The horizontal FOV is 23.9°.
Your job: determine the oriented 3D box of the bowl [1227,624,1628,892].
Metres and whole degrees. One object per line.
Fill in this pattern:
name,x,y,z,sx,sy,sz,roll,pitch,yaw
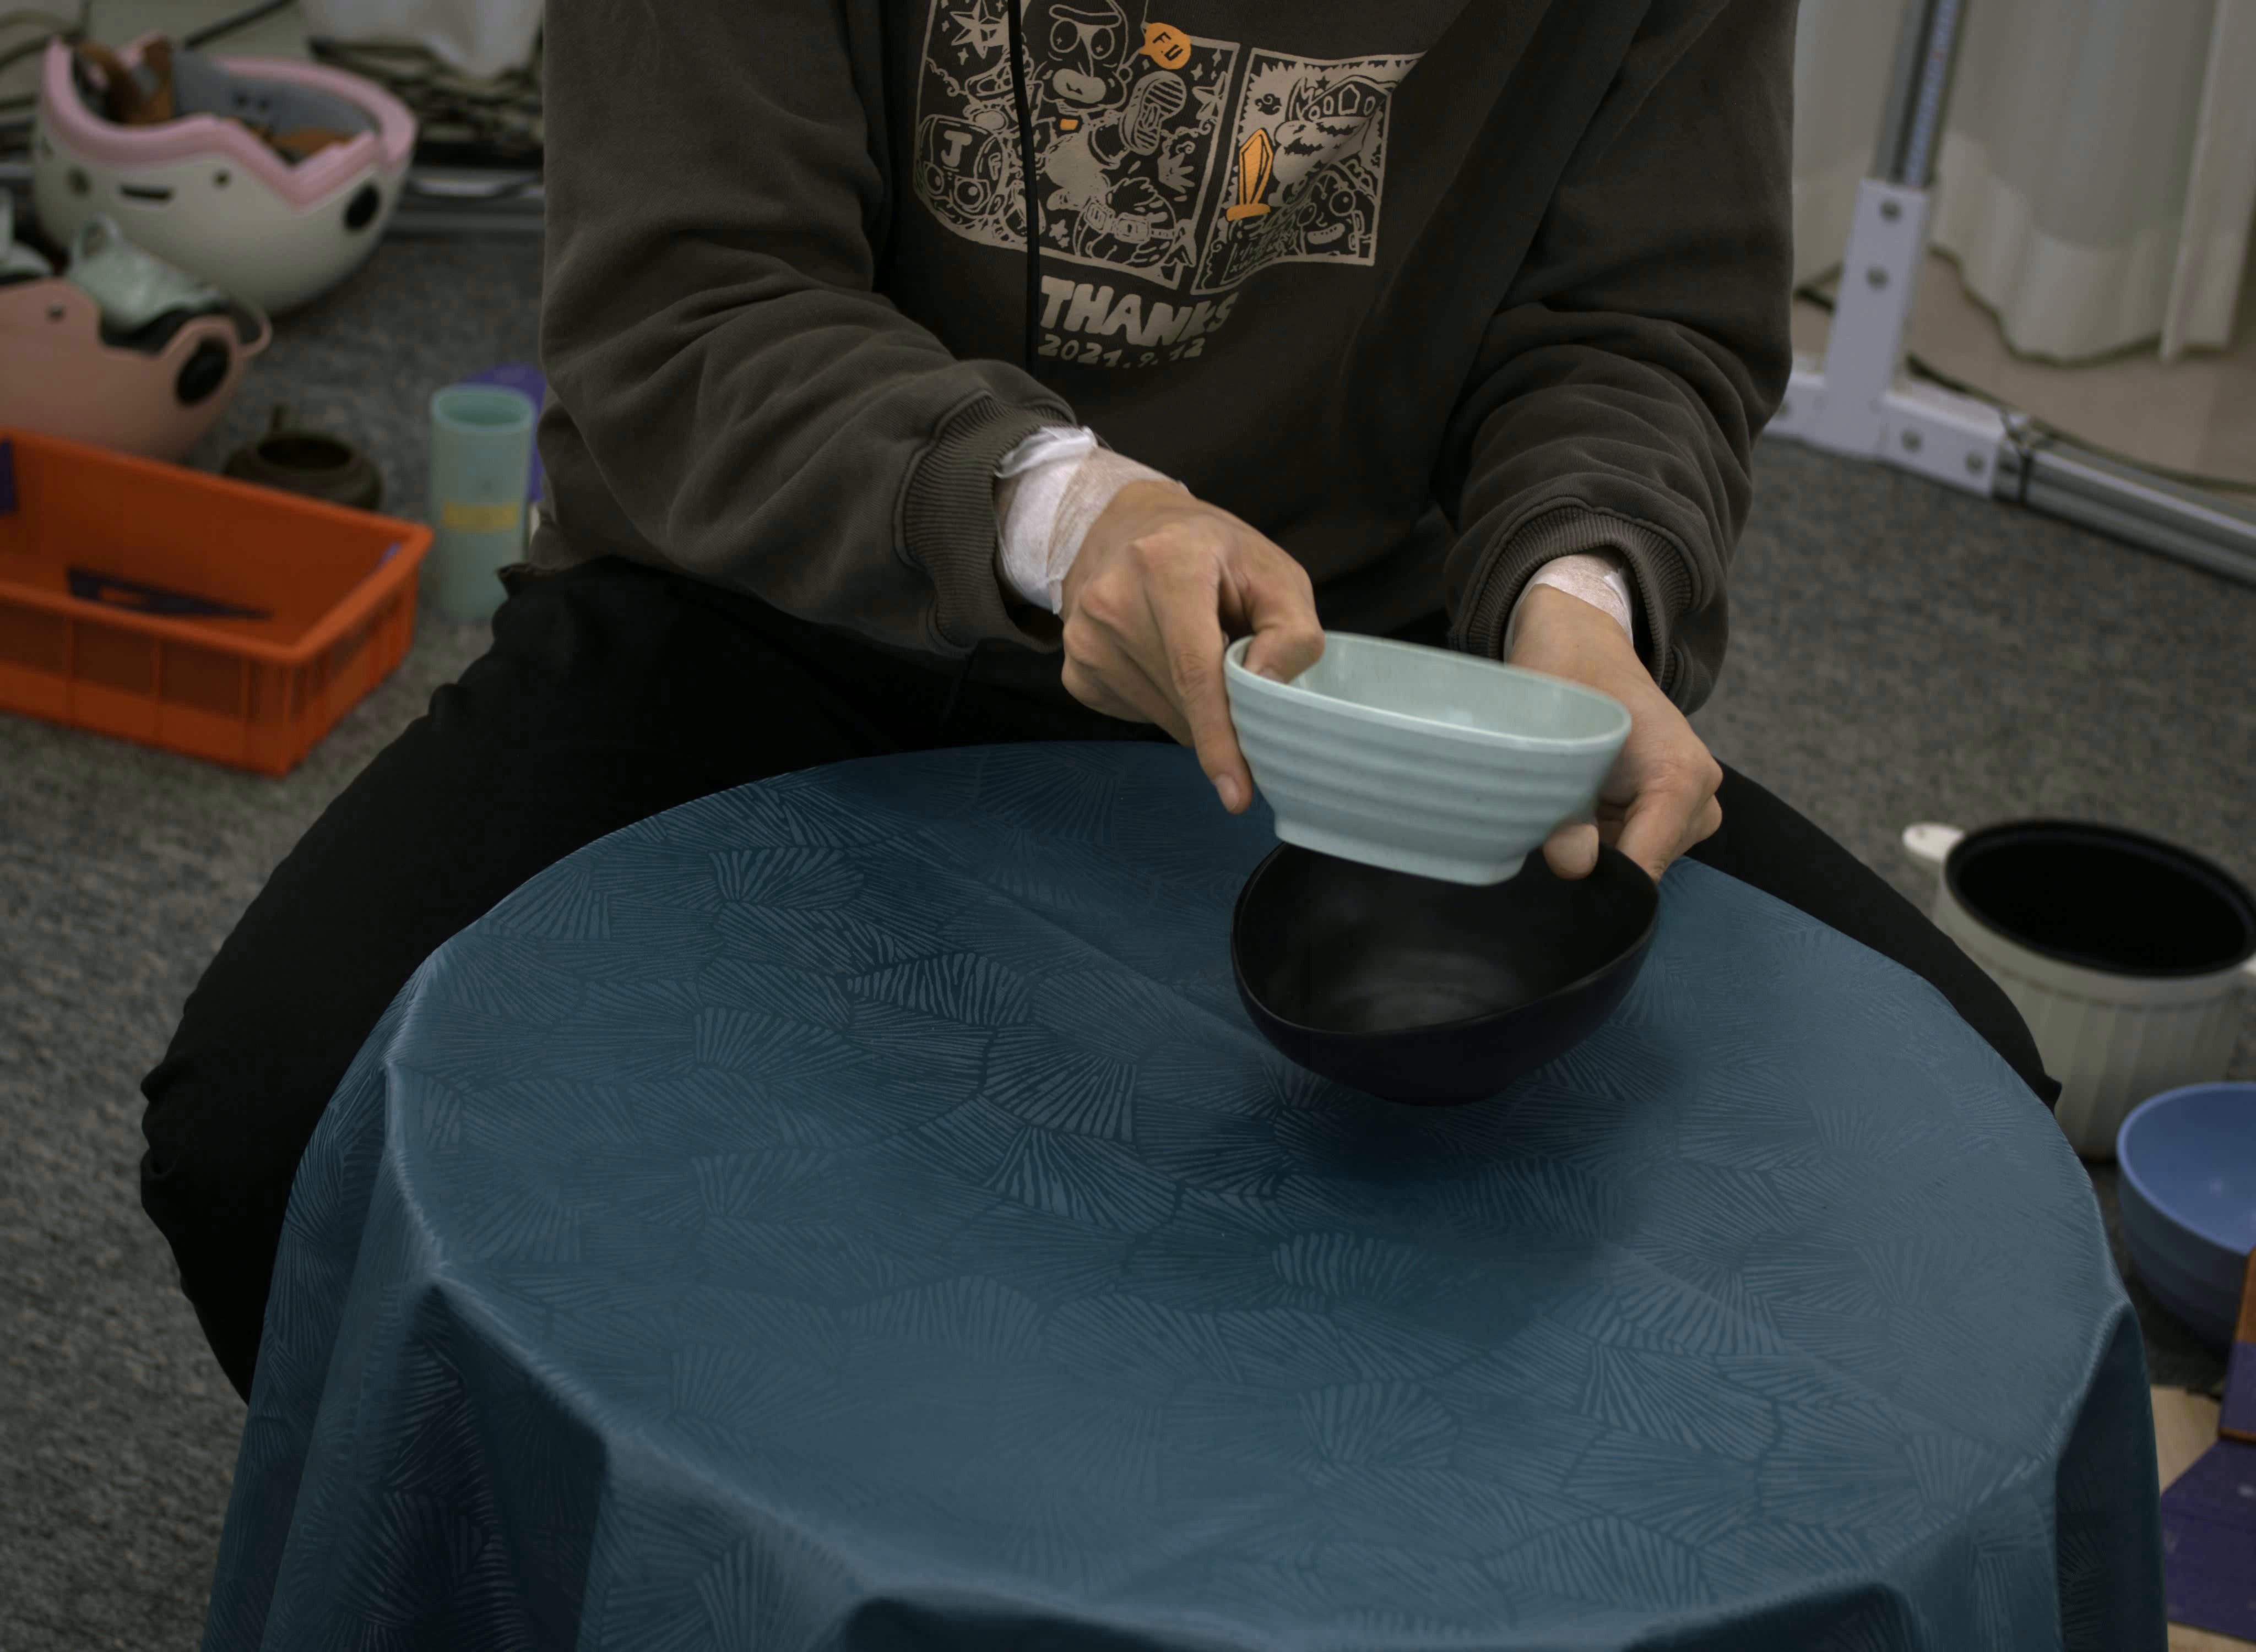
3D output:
bowl,0.096,-0.020,1.815,0.151,0.058,0.152,14,12,-3

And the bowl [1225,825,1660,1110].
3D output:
bowl,0.108,0.055,1.850,0.138,0.066,0.170,23,35,34
